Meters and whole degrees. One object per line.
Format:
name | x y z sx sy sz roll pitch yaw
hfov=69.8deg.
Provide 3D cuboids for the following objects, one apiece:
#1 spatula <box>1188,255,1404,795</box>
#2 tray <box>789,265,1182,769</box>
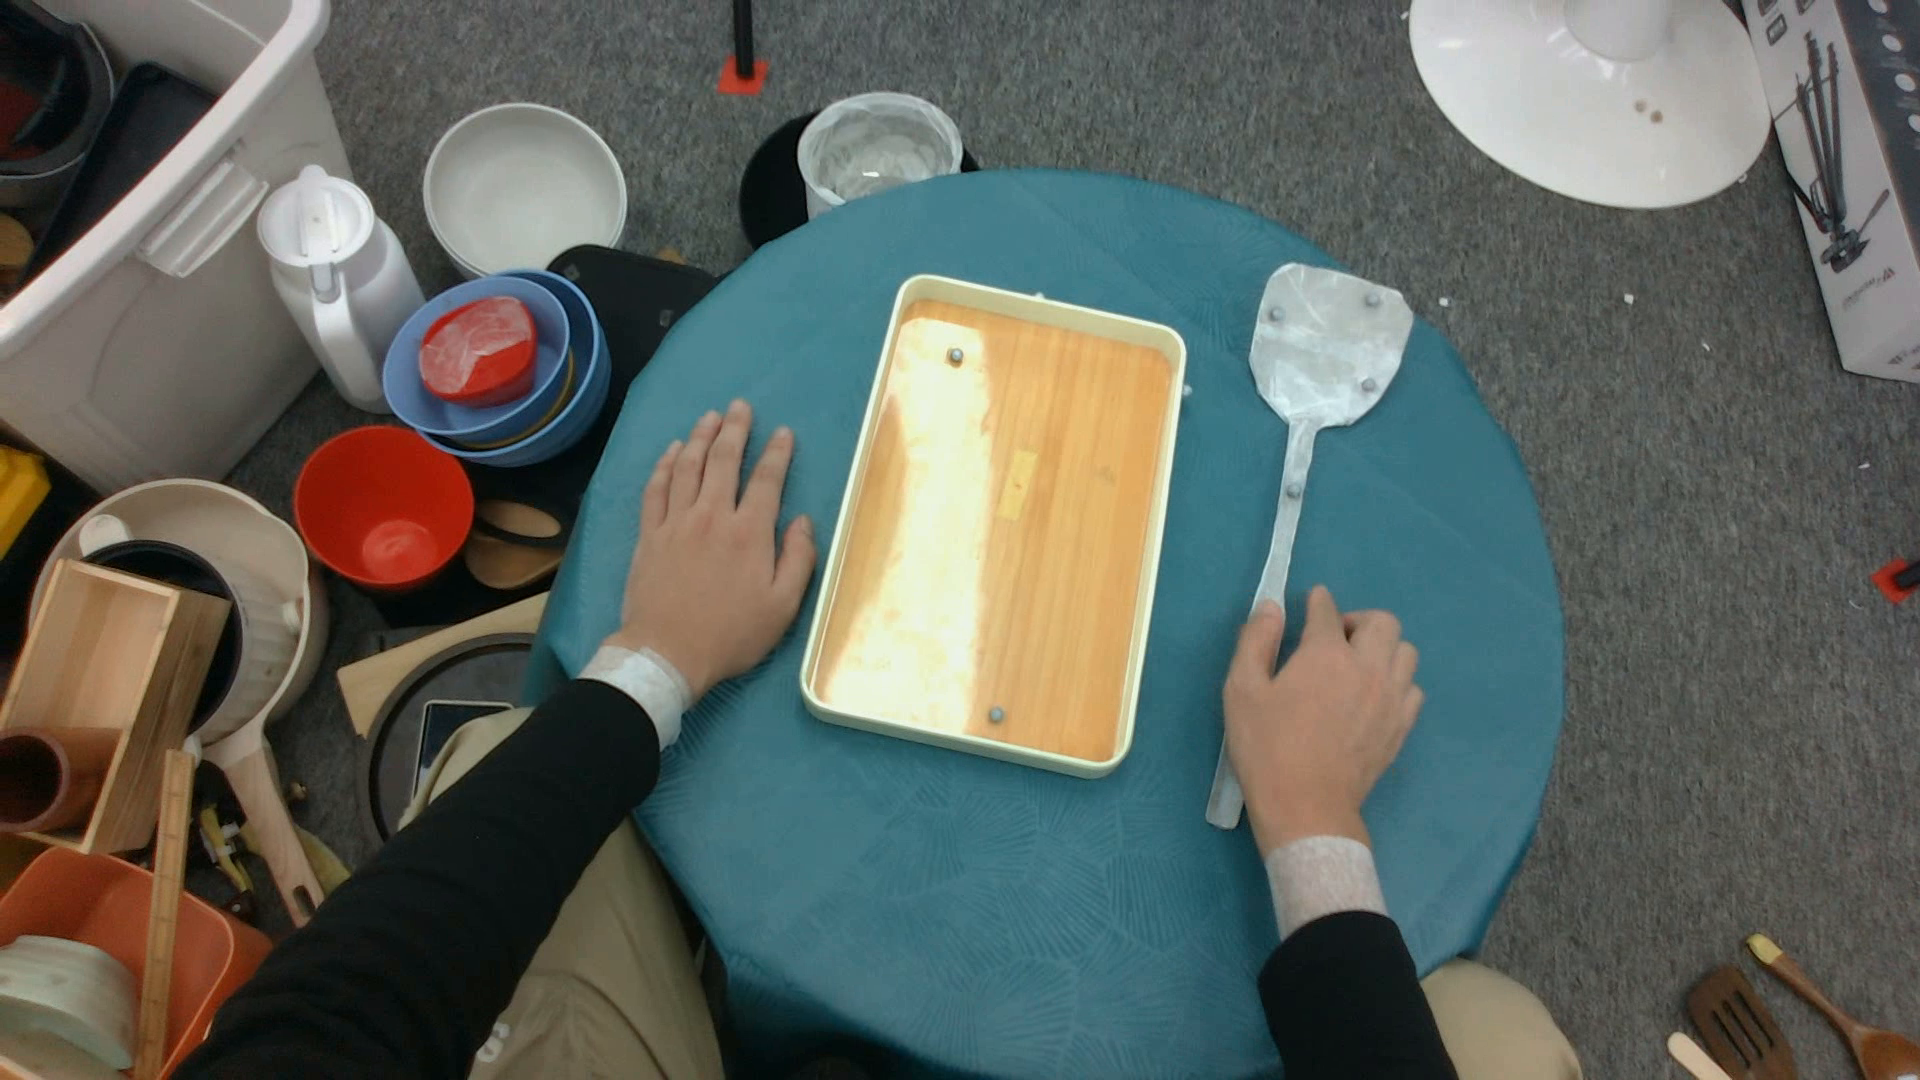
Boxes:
spatula | 0.195 -0.016 0.841 0.099 0.044 0.366 18 64 1
tray | 0.022 -0.023 0.831 0.191 0.027 0.301 13 64 0
